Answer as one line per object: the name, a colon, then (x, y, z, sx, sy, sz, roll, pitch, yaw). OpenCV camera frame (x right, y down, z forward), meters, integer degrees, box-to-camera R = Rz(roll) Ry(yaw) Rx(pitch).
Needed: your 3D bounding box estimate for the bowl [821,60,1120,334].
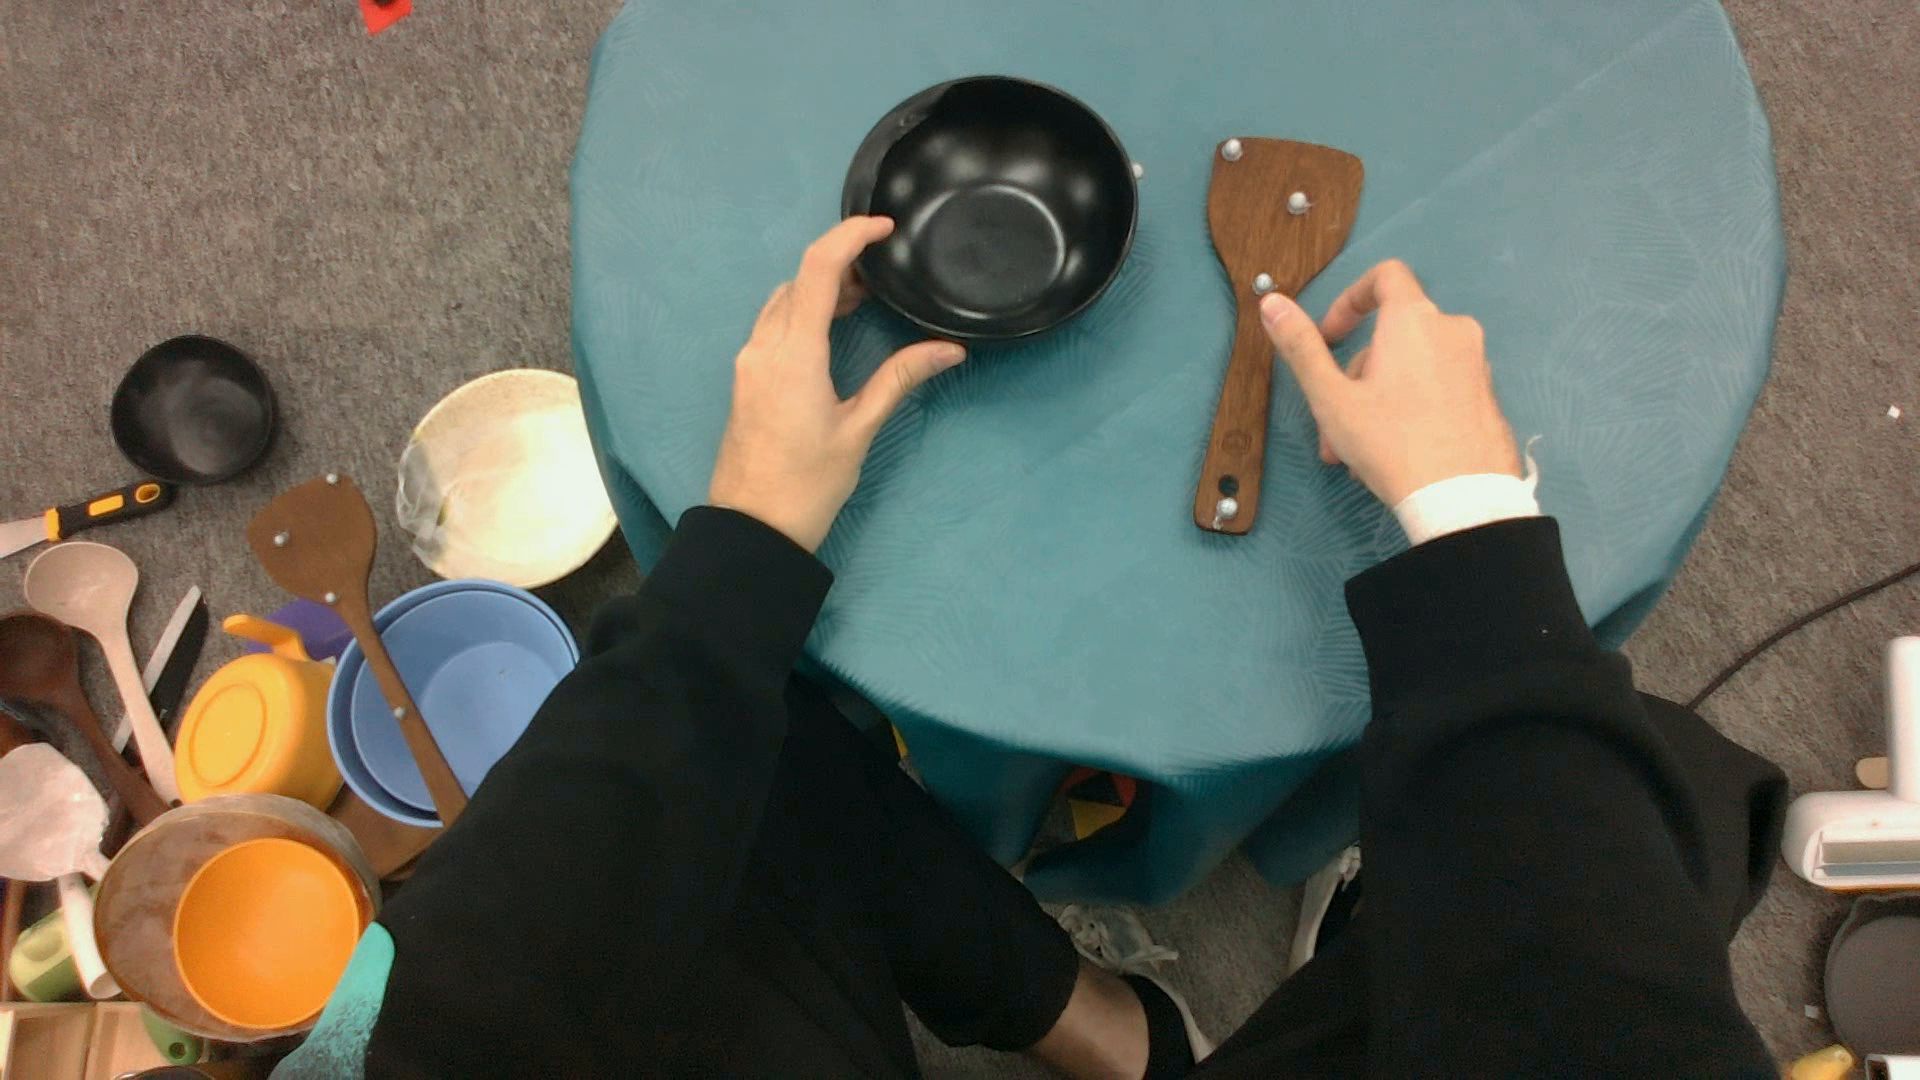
bowl: (0.005, -0.156, 0.660, 0.140, 0.049, 0.140, 0, 74, -1)

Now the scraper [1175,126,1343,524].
scraper: (0.133, -0.106, 0.656, 0.076, 0.011, 0.212, 11, 71, 7)
